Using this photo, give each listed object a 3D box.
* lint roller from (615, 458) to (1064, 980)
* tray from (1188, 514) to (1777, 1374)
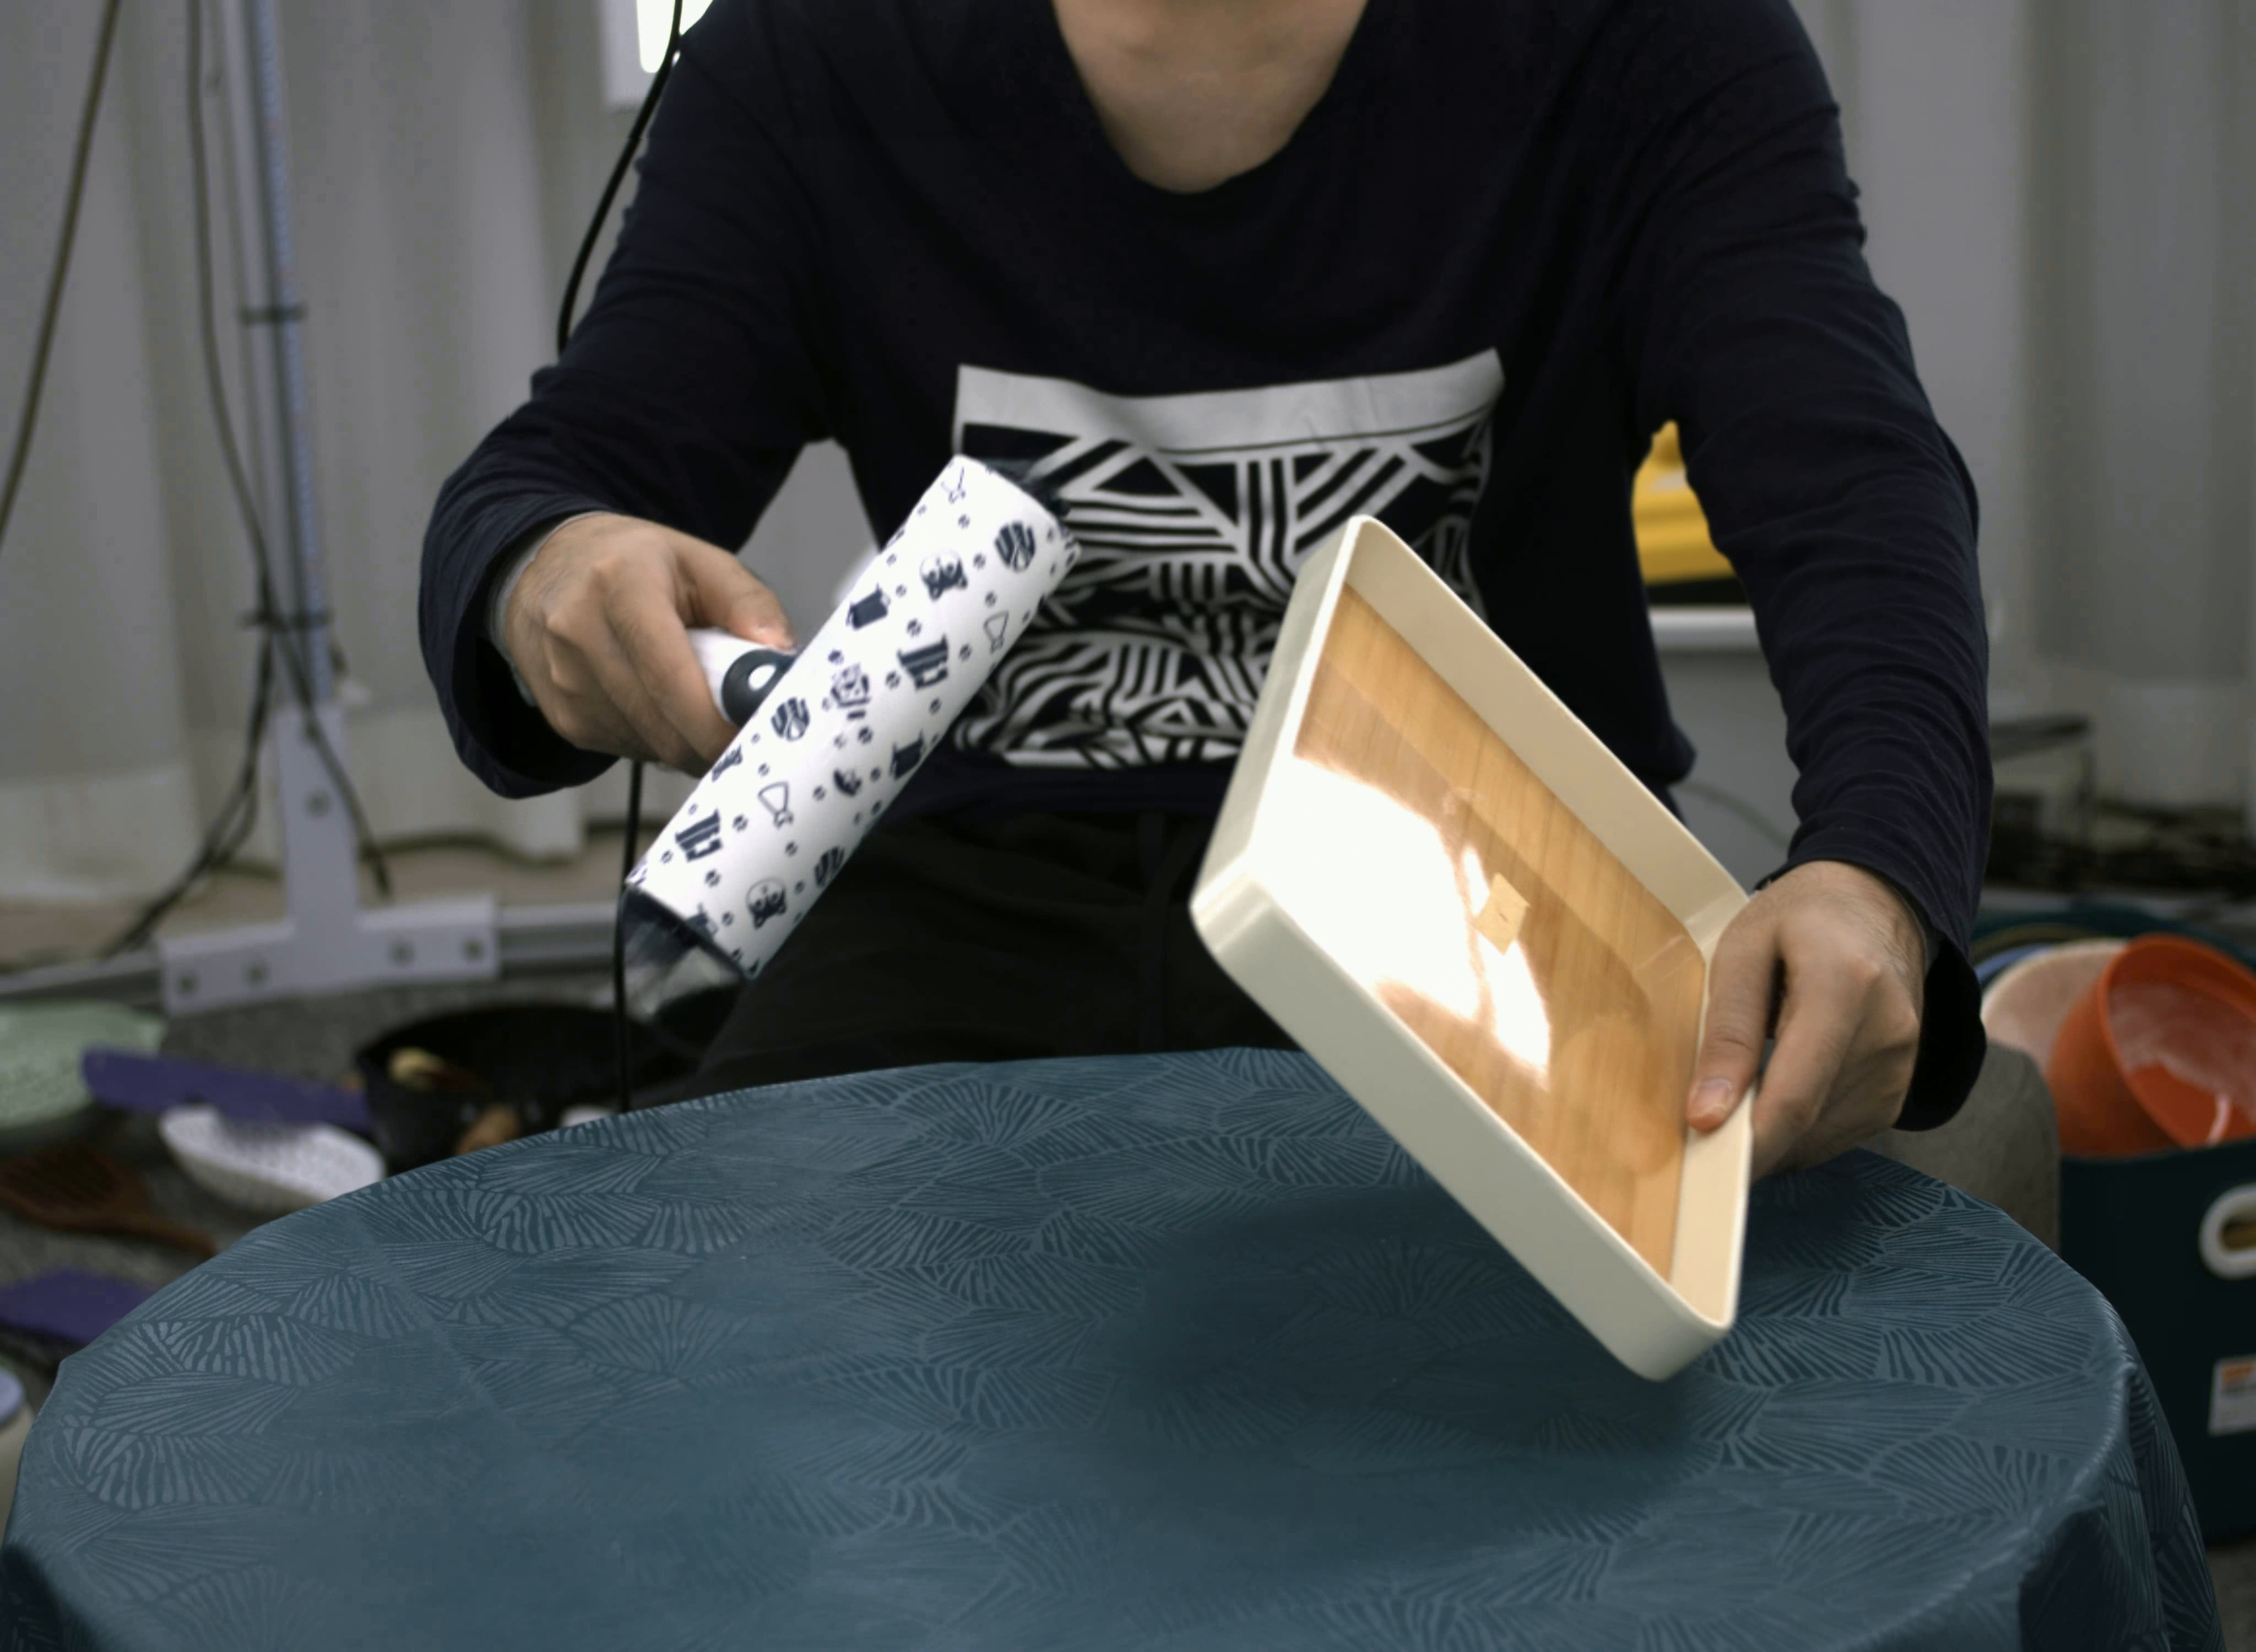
[{"bbox_3d":[-0.120,-0.041,1.699,0.050,0.177,0.248,40,-10,-21],"label":"lint roller"},{"bbox_3d":[0.109,0.026,1.588,0.027,0.191,0.303,-43,10,22],"label":"tray"}]
